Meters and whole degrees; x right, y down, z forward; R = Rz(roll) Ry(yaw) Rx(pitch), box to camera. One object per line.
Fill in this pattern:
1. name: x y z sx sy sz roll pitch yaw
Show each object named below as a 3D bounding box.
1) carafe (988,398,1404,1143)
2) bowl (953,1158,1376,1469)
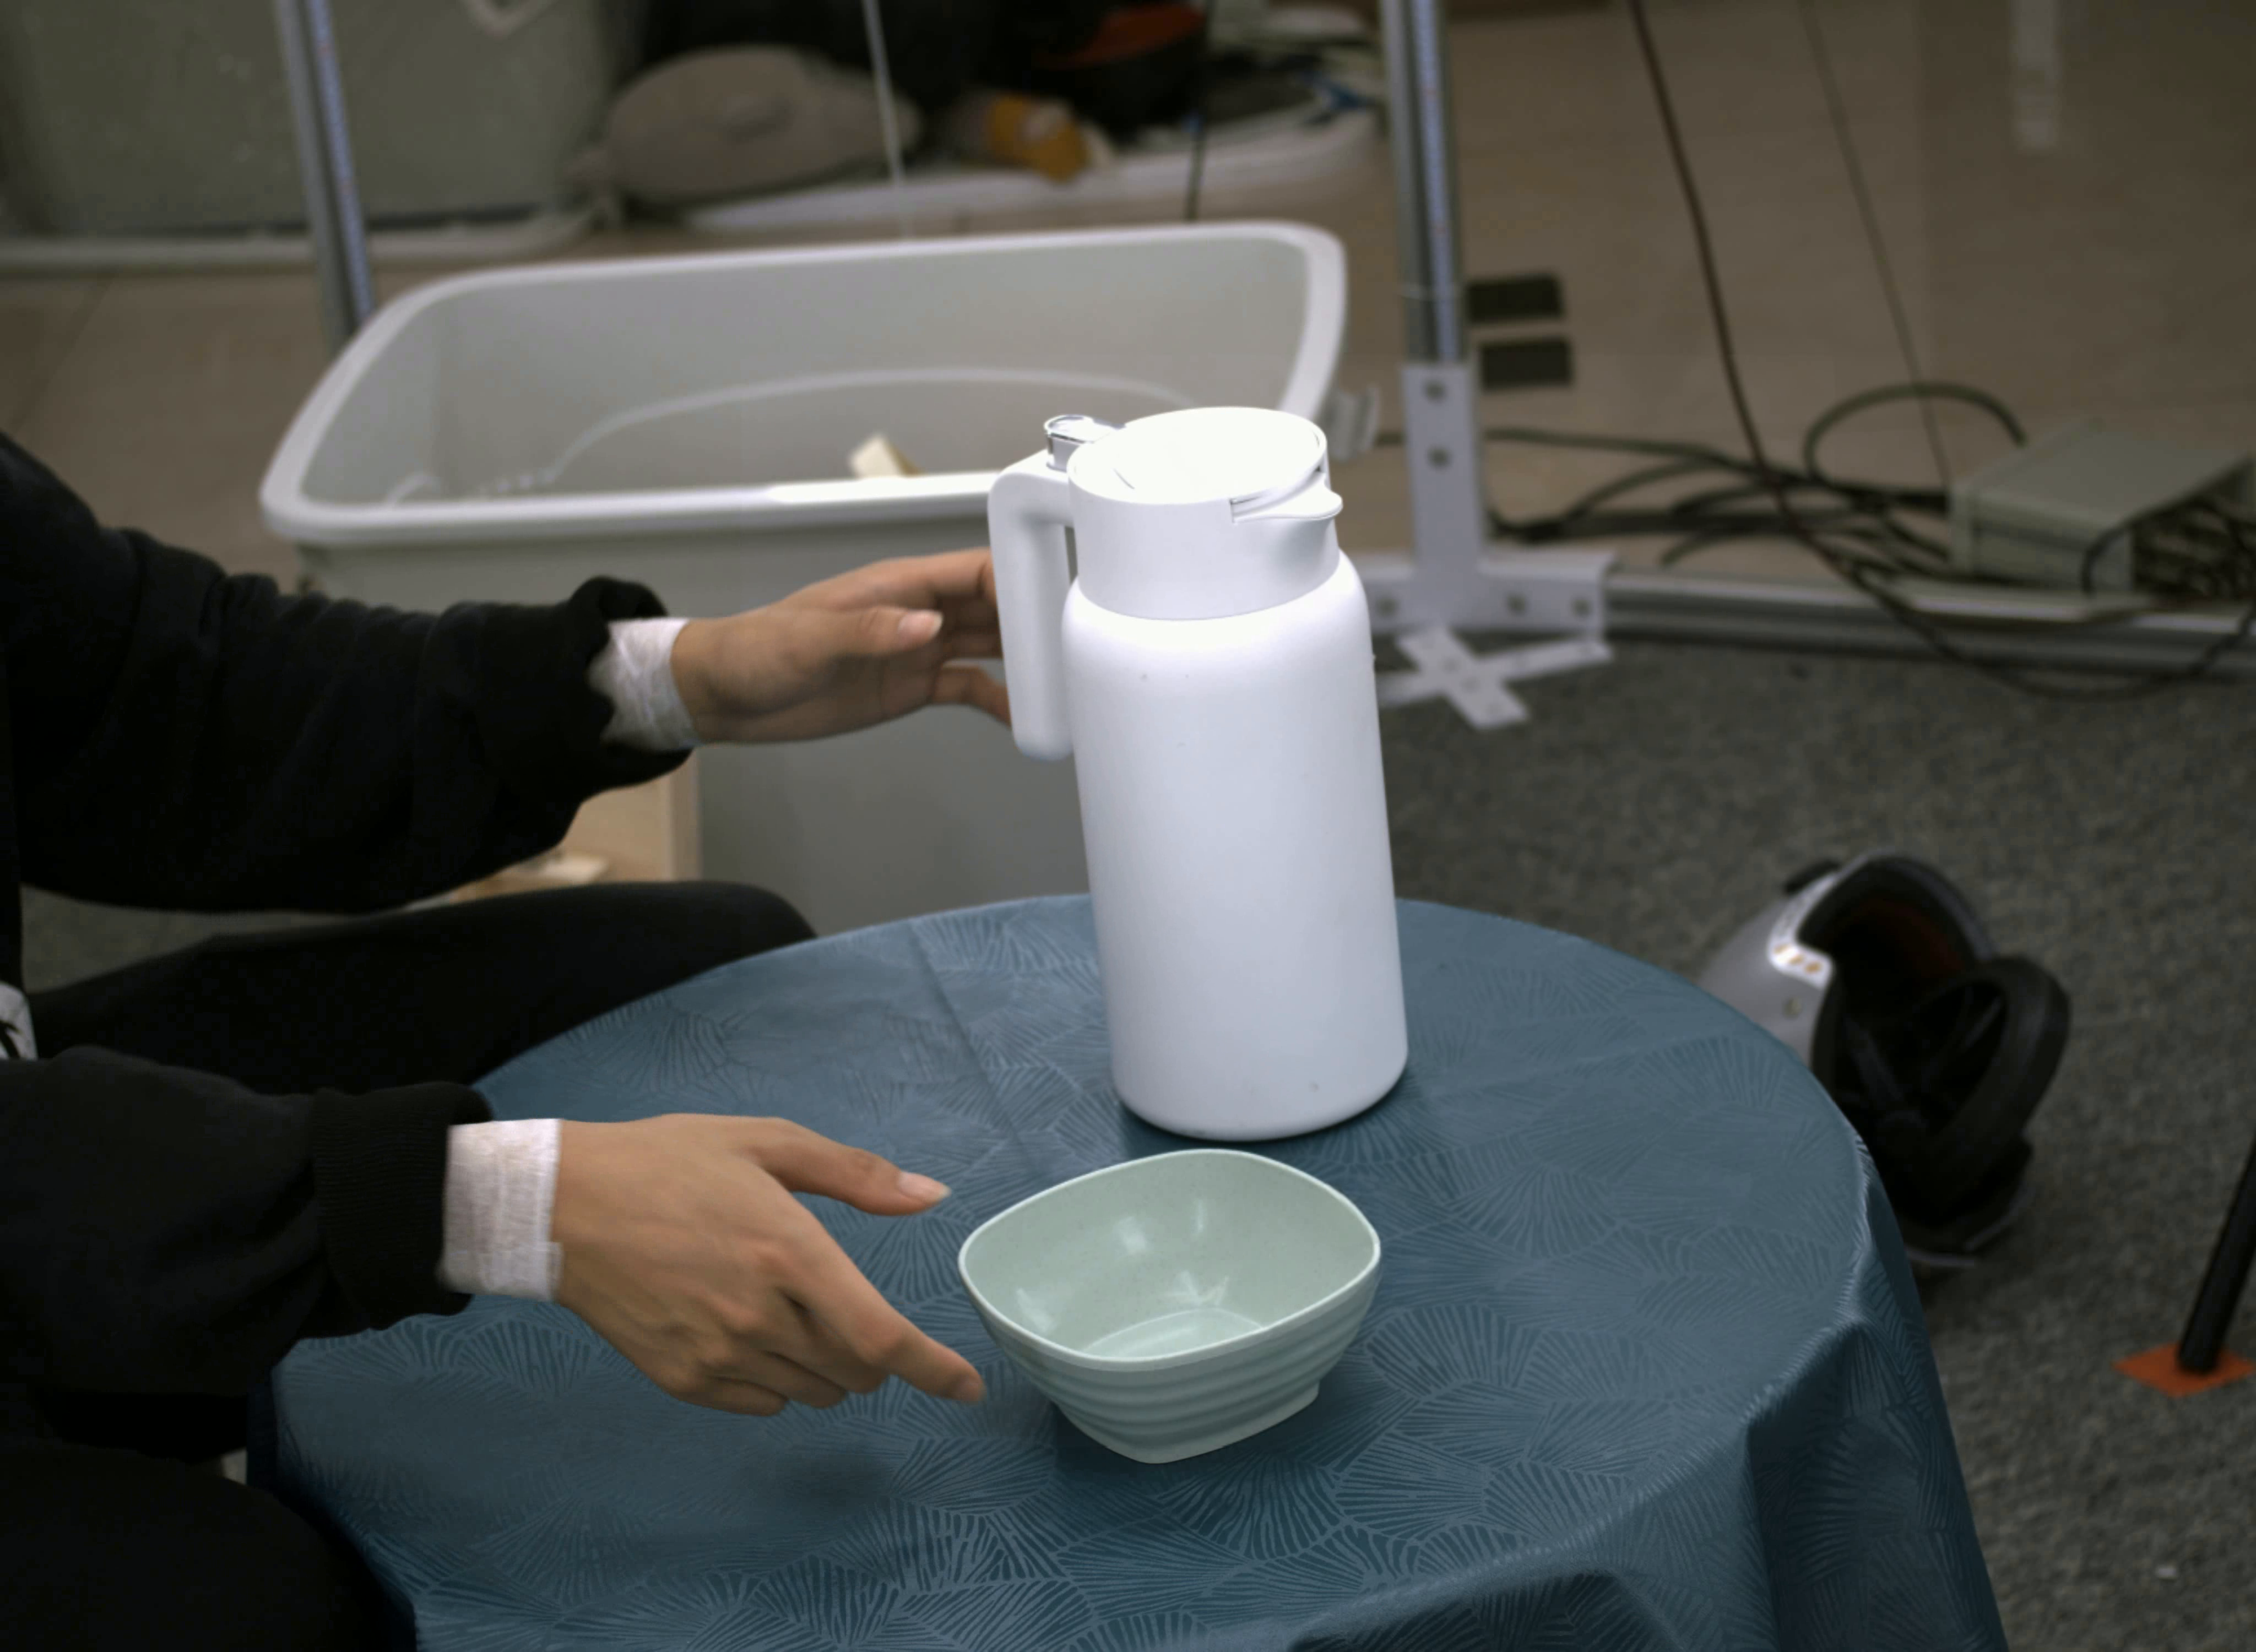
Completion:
1. carafe: 0.025 -0.023 2.171 0.171 0.273 0.122 17 36 39
2. bowl: 0.015 0.177 2.001 0.151 0.059 0.149 -5 25 3
